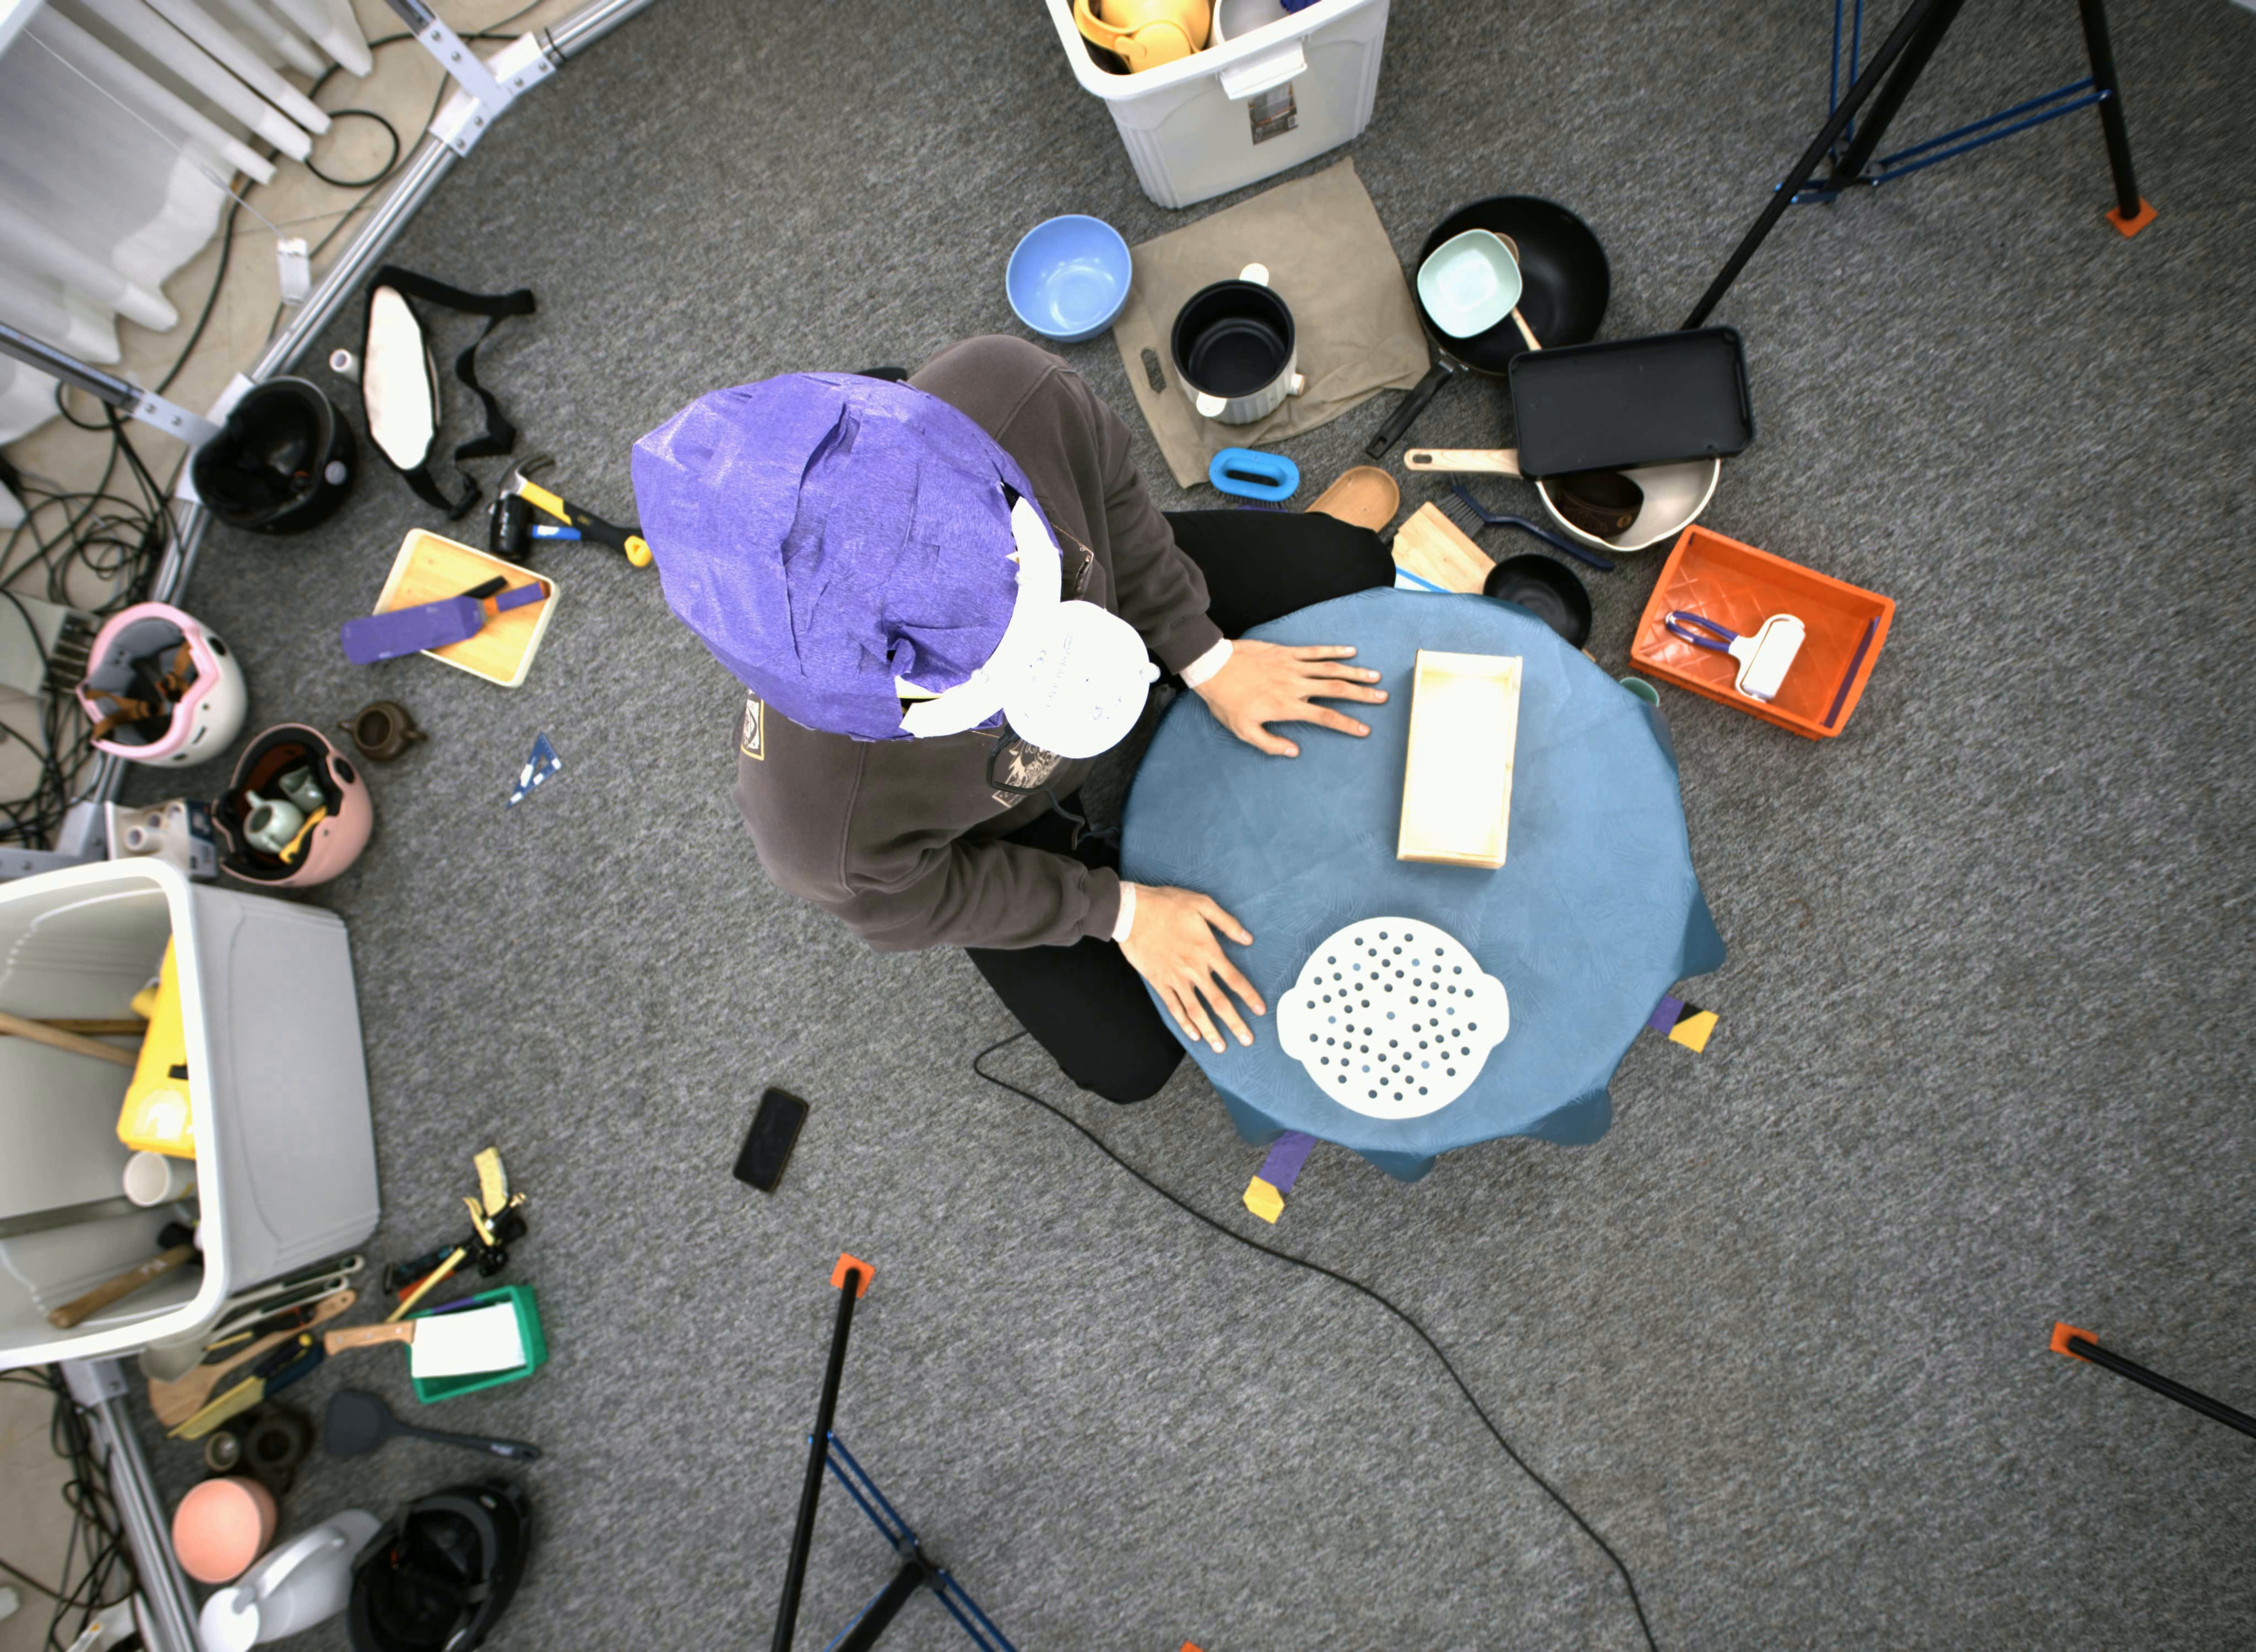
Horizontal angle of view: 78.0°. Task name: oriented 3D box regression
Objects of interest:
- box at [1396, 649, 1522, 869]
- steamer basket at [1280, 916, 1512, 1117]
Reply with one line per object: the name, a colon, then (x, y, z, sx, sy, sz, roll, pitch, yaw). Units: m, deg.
box: (0.339, -0.069, 1.411, 0.108, 0.080, 0.211, 5, 88, 11)
steamer basket: (0.274, 0.193, 1.417, 0.232, 0.069, 0.201, -5, 85, 11)
